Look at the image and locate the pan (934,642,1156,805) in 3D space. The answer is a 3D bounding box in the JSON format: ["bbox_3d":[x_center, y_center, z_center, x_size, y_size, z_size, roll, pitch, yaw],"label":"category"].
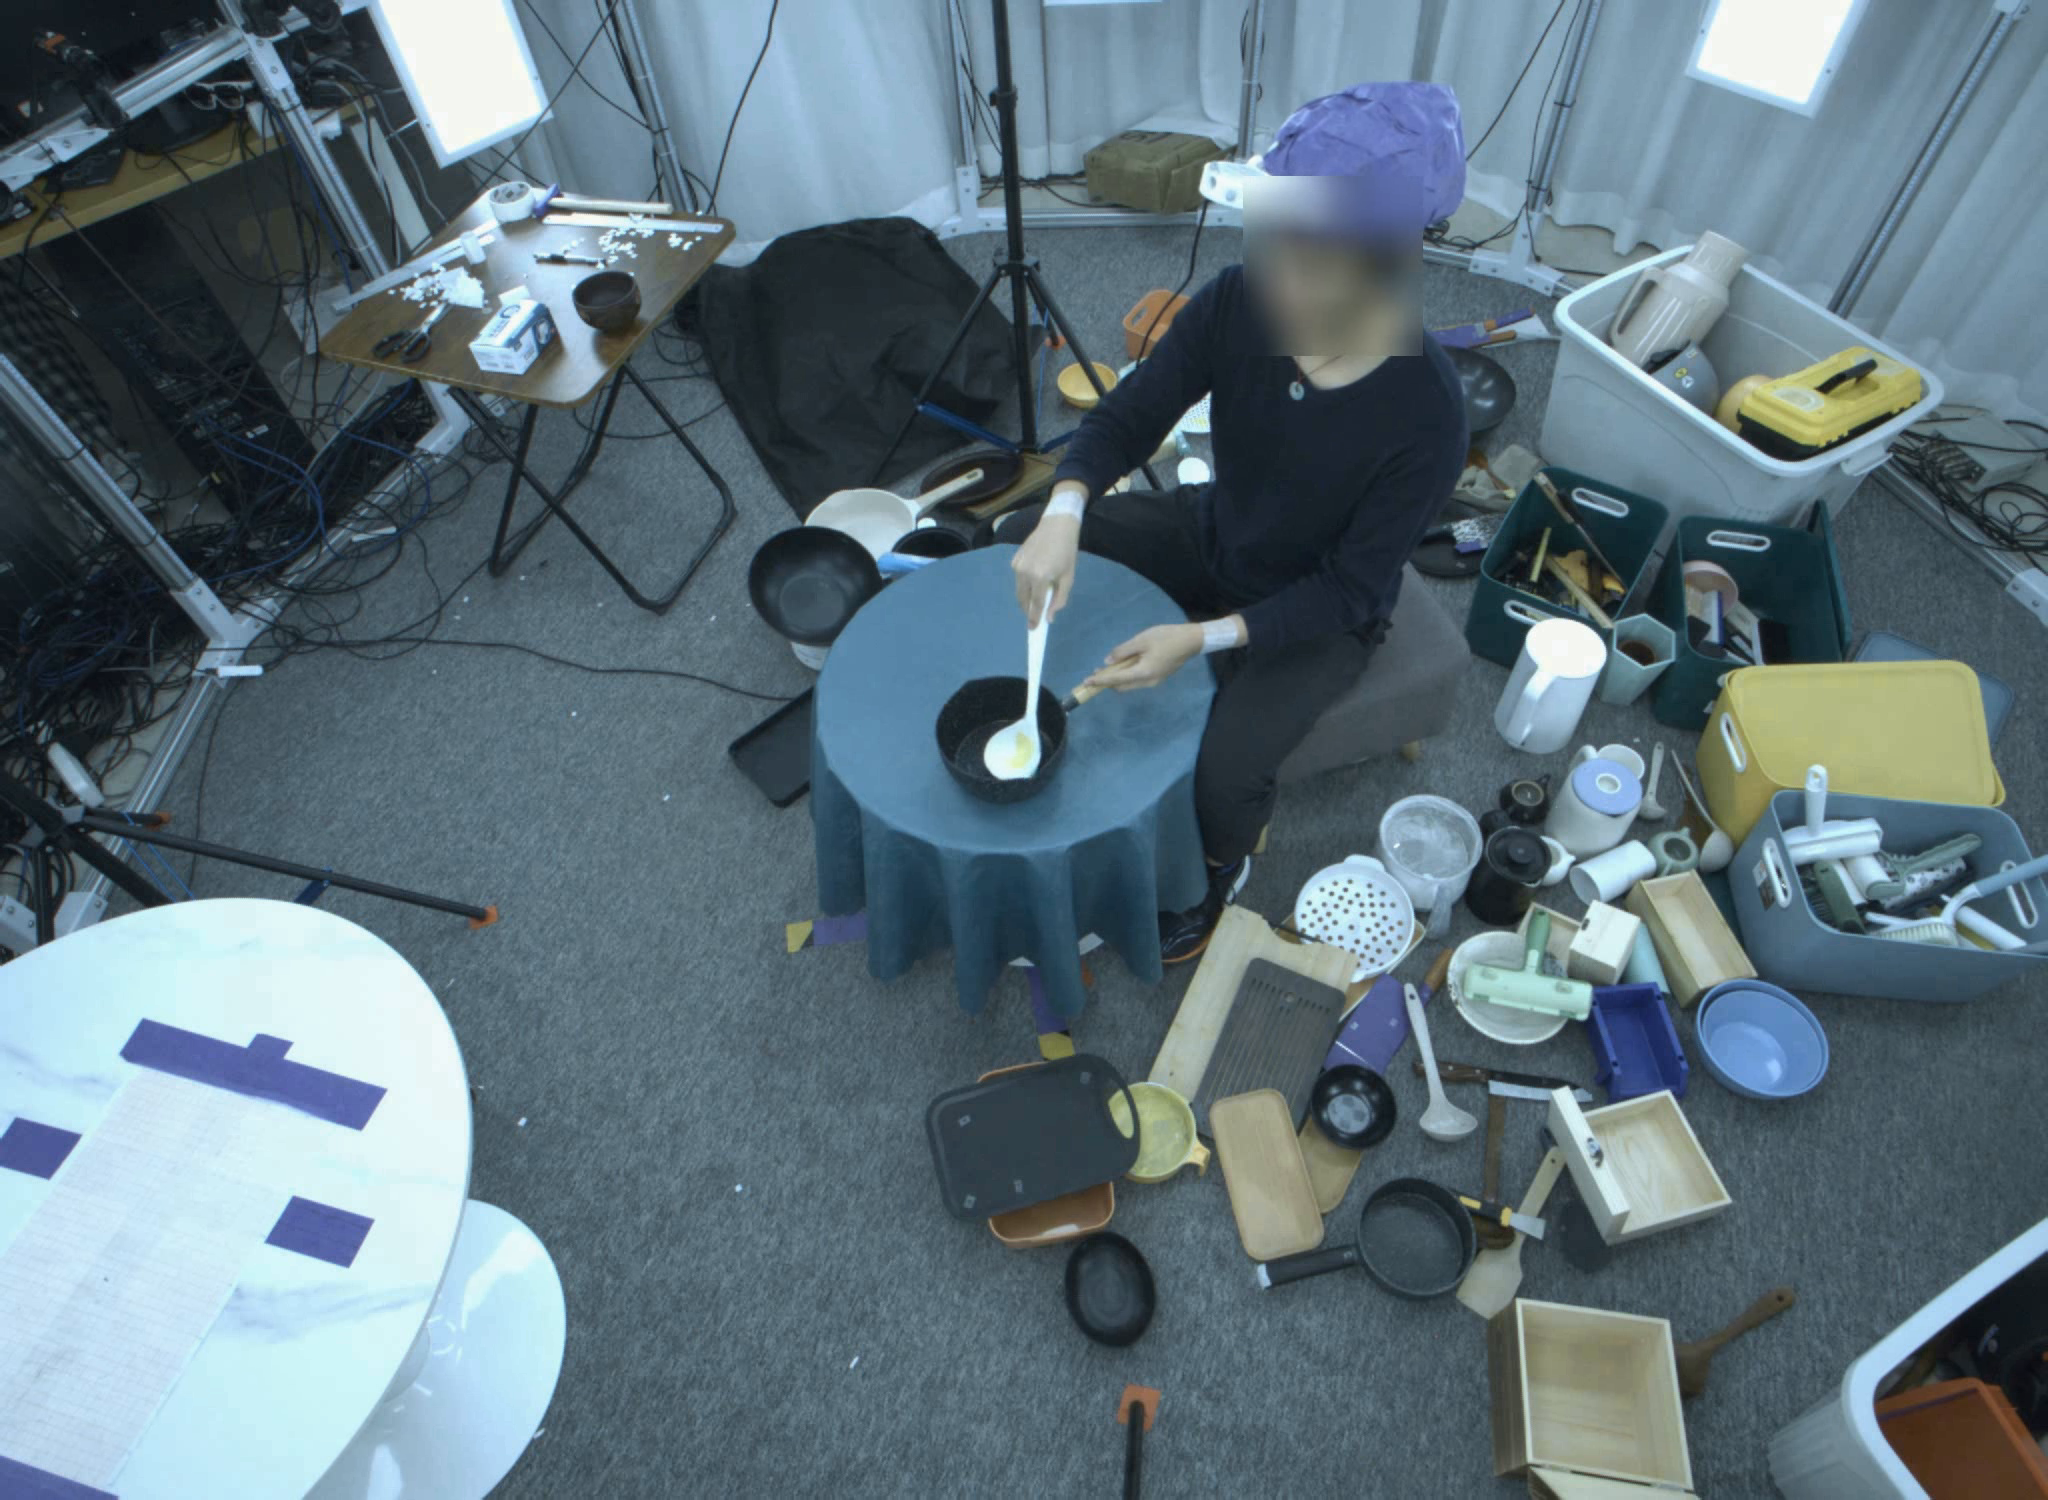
[{"bbox_3d":[0.038,-0.050,1.754,0.345,0.109,0.203,-28,57,-15],"label":"pan"}]

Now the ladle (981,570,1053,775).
[{"bbox_3d":[-0.006,-0.104,1.706,0.071,0.294,0.088,-17,34,-40],"label":"ladle"}]
